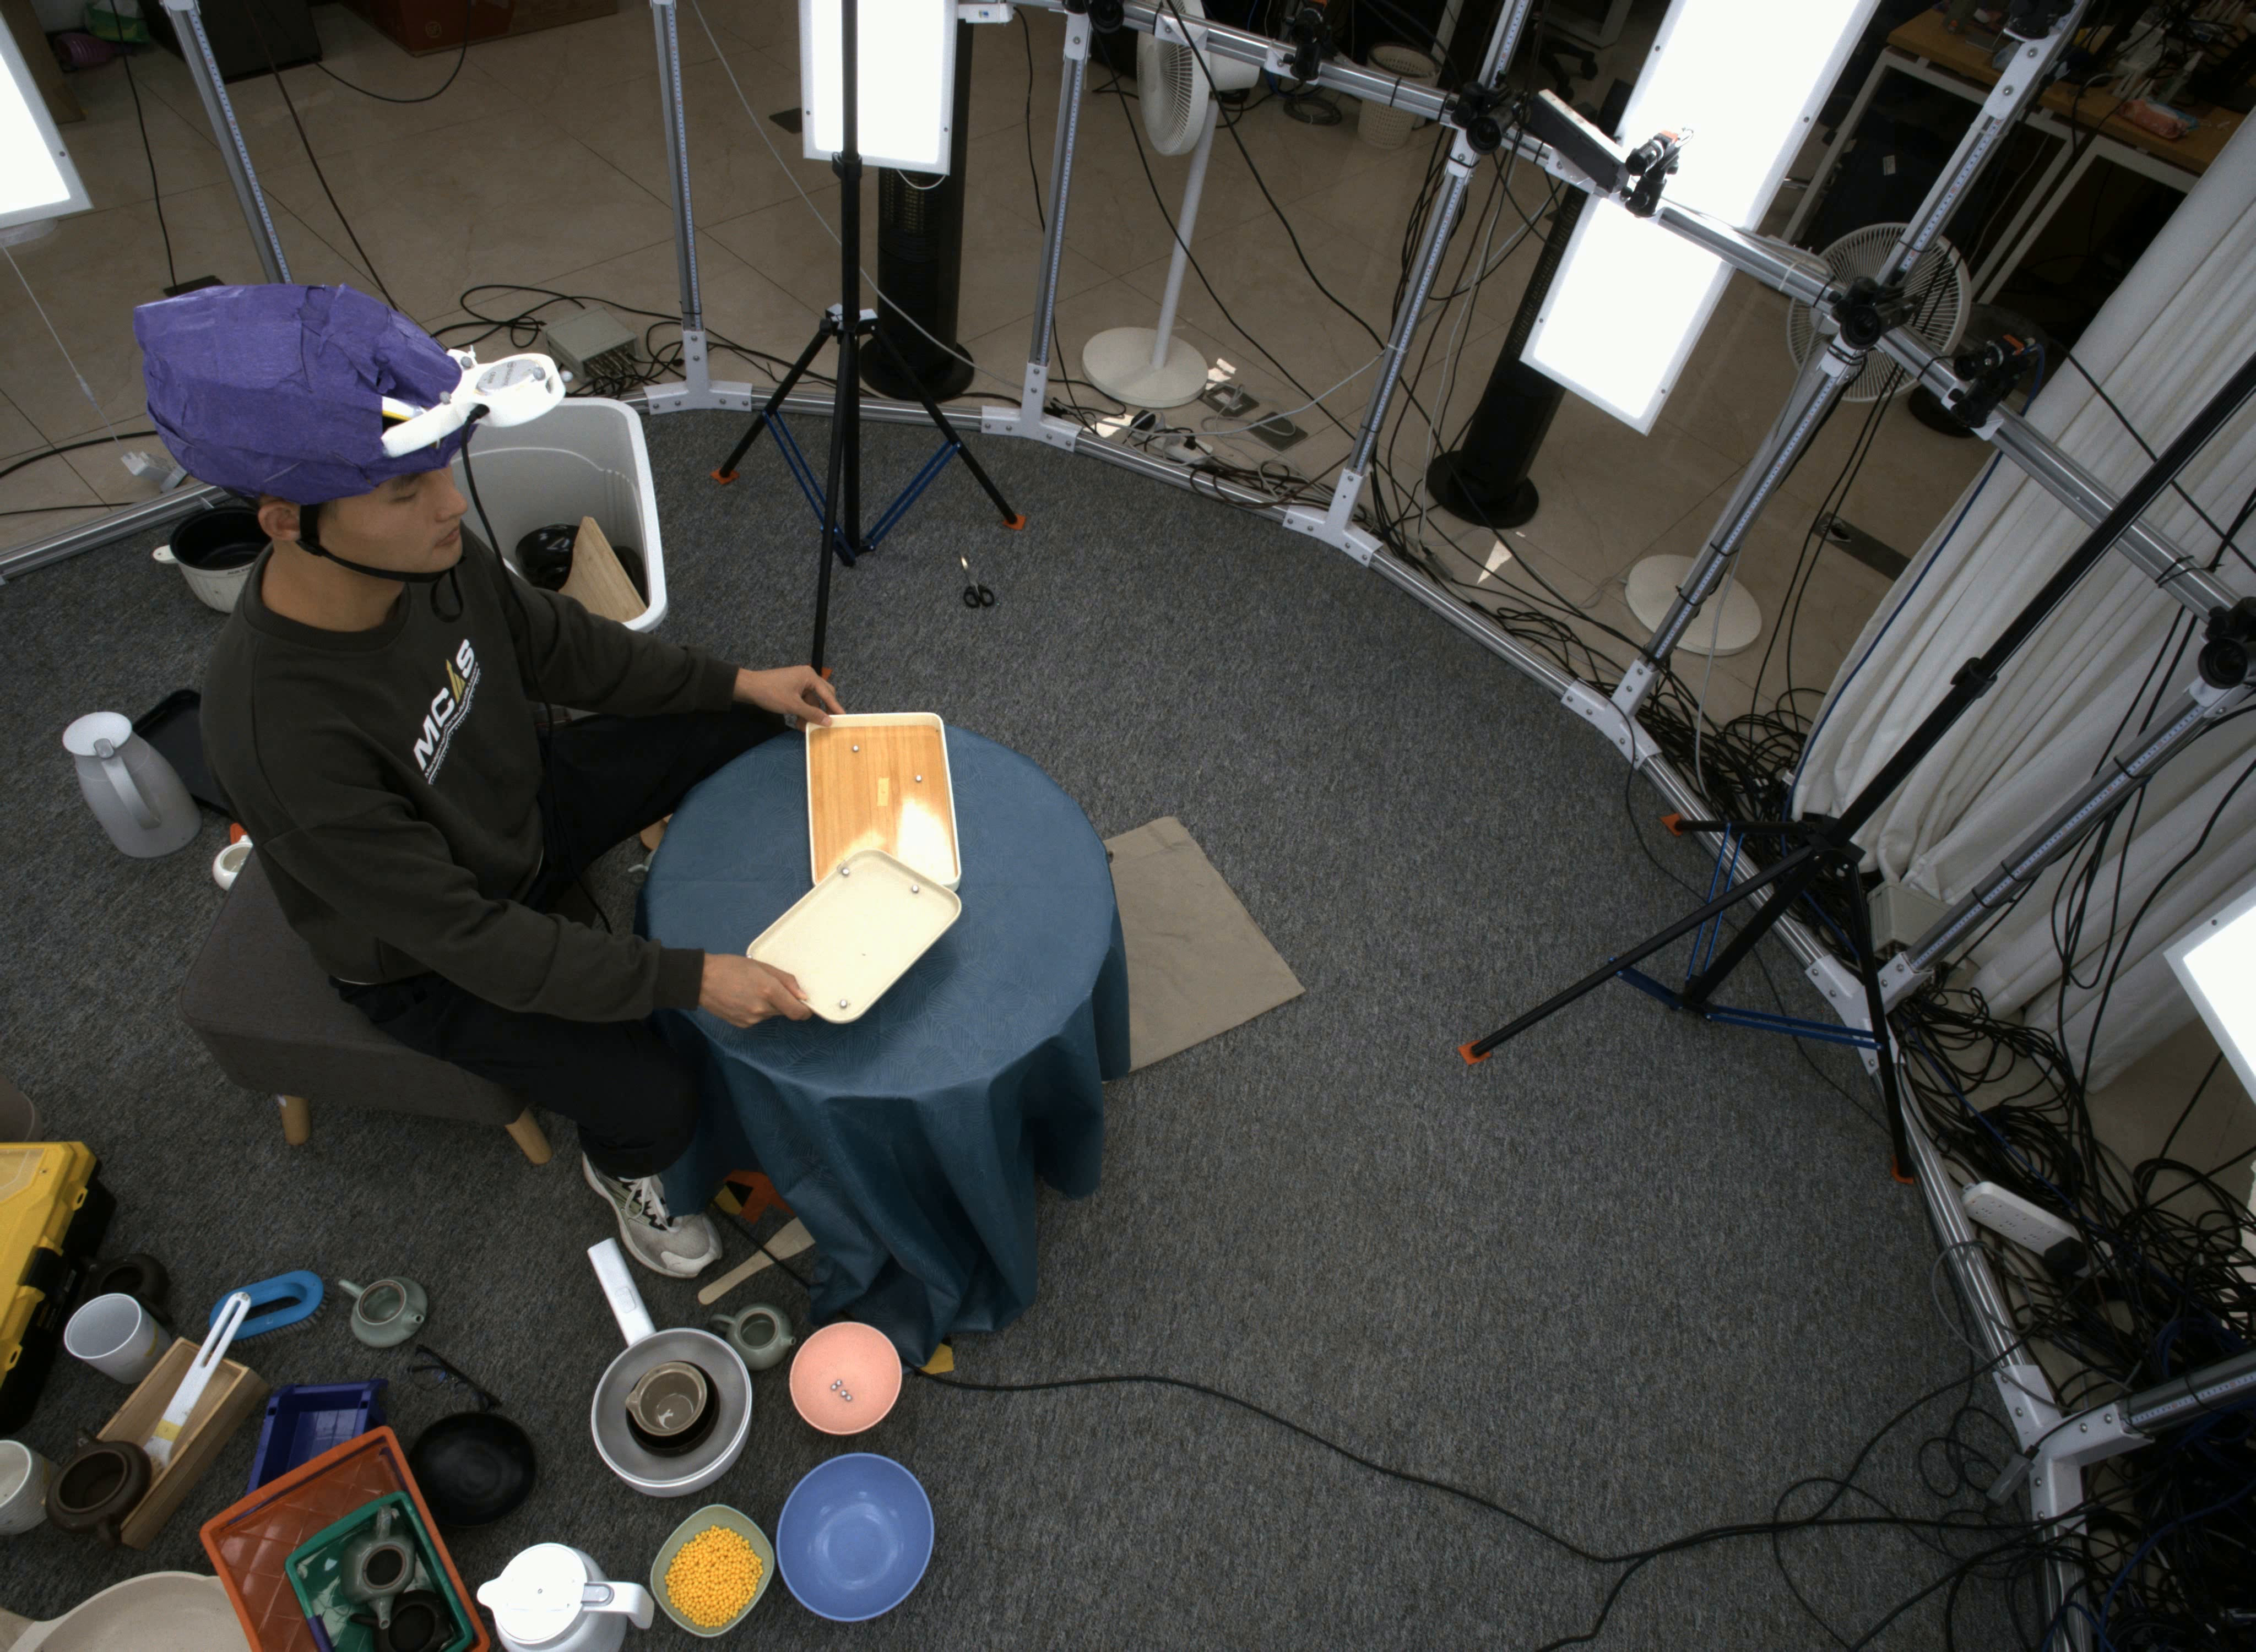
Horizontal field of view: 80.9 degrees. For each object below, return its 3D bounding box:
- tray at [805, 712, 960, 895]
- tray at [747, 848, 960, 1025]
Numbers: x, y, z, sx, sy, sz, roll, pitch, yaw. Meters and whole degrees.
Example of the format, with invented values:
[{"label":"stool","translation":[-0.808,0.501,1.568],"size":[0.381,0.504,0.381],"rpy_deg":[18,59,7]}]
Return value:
[{"label":"tray","translation":[-0.336,-0.033,1.764],"size":[0.192,0.028,0.293],"rpy_deg":[-3,54,-15]},{"label":"tray","translation":[-0.331,0.130,1.584],"size":[0.167,0.018,0.239],"rpy_deg":[30,50,15]}]
